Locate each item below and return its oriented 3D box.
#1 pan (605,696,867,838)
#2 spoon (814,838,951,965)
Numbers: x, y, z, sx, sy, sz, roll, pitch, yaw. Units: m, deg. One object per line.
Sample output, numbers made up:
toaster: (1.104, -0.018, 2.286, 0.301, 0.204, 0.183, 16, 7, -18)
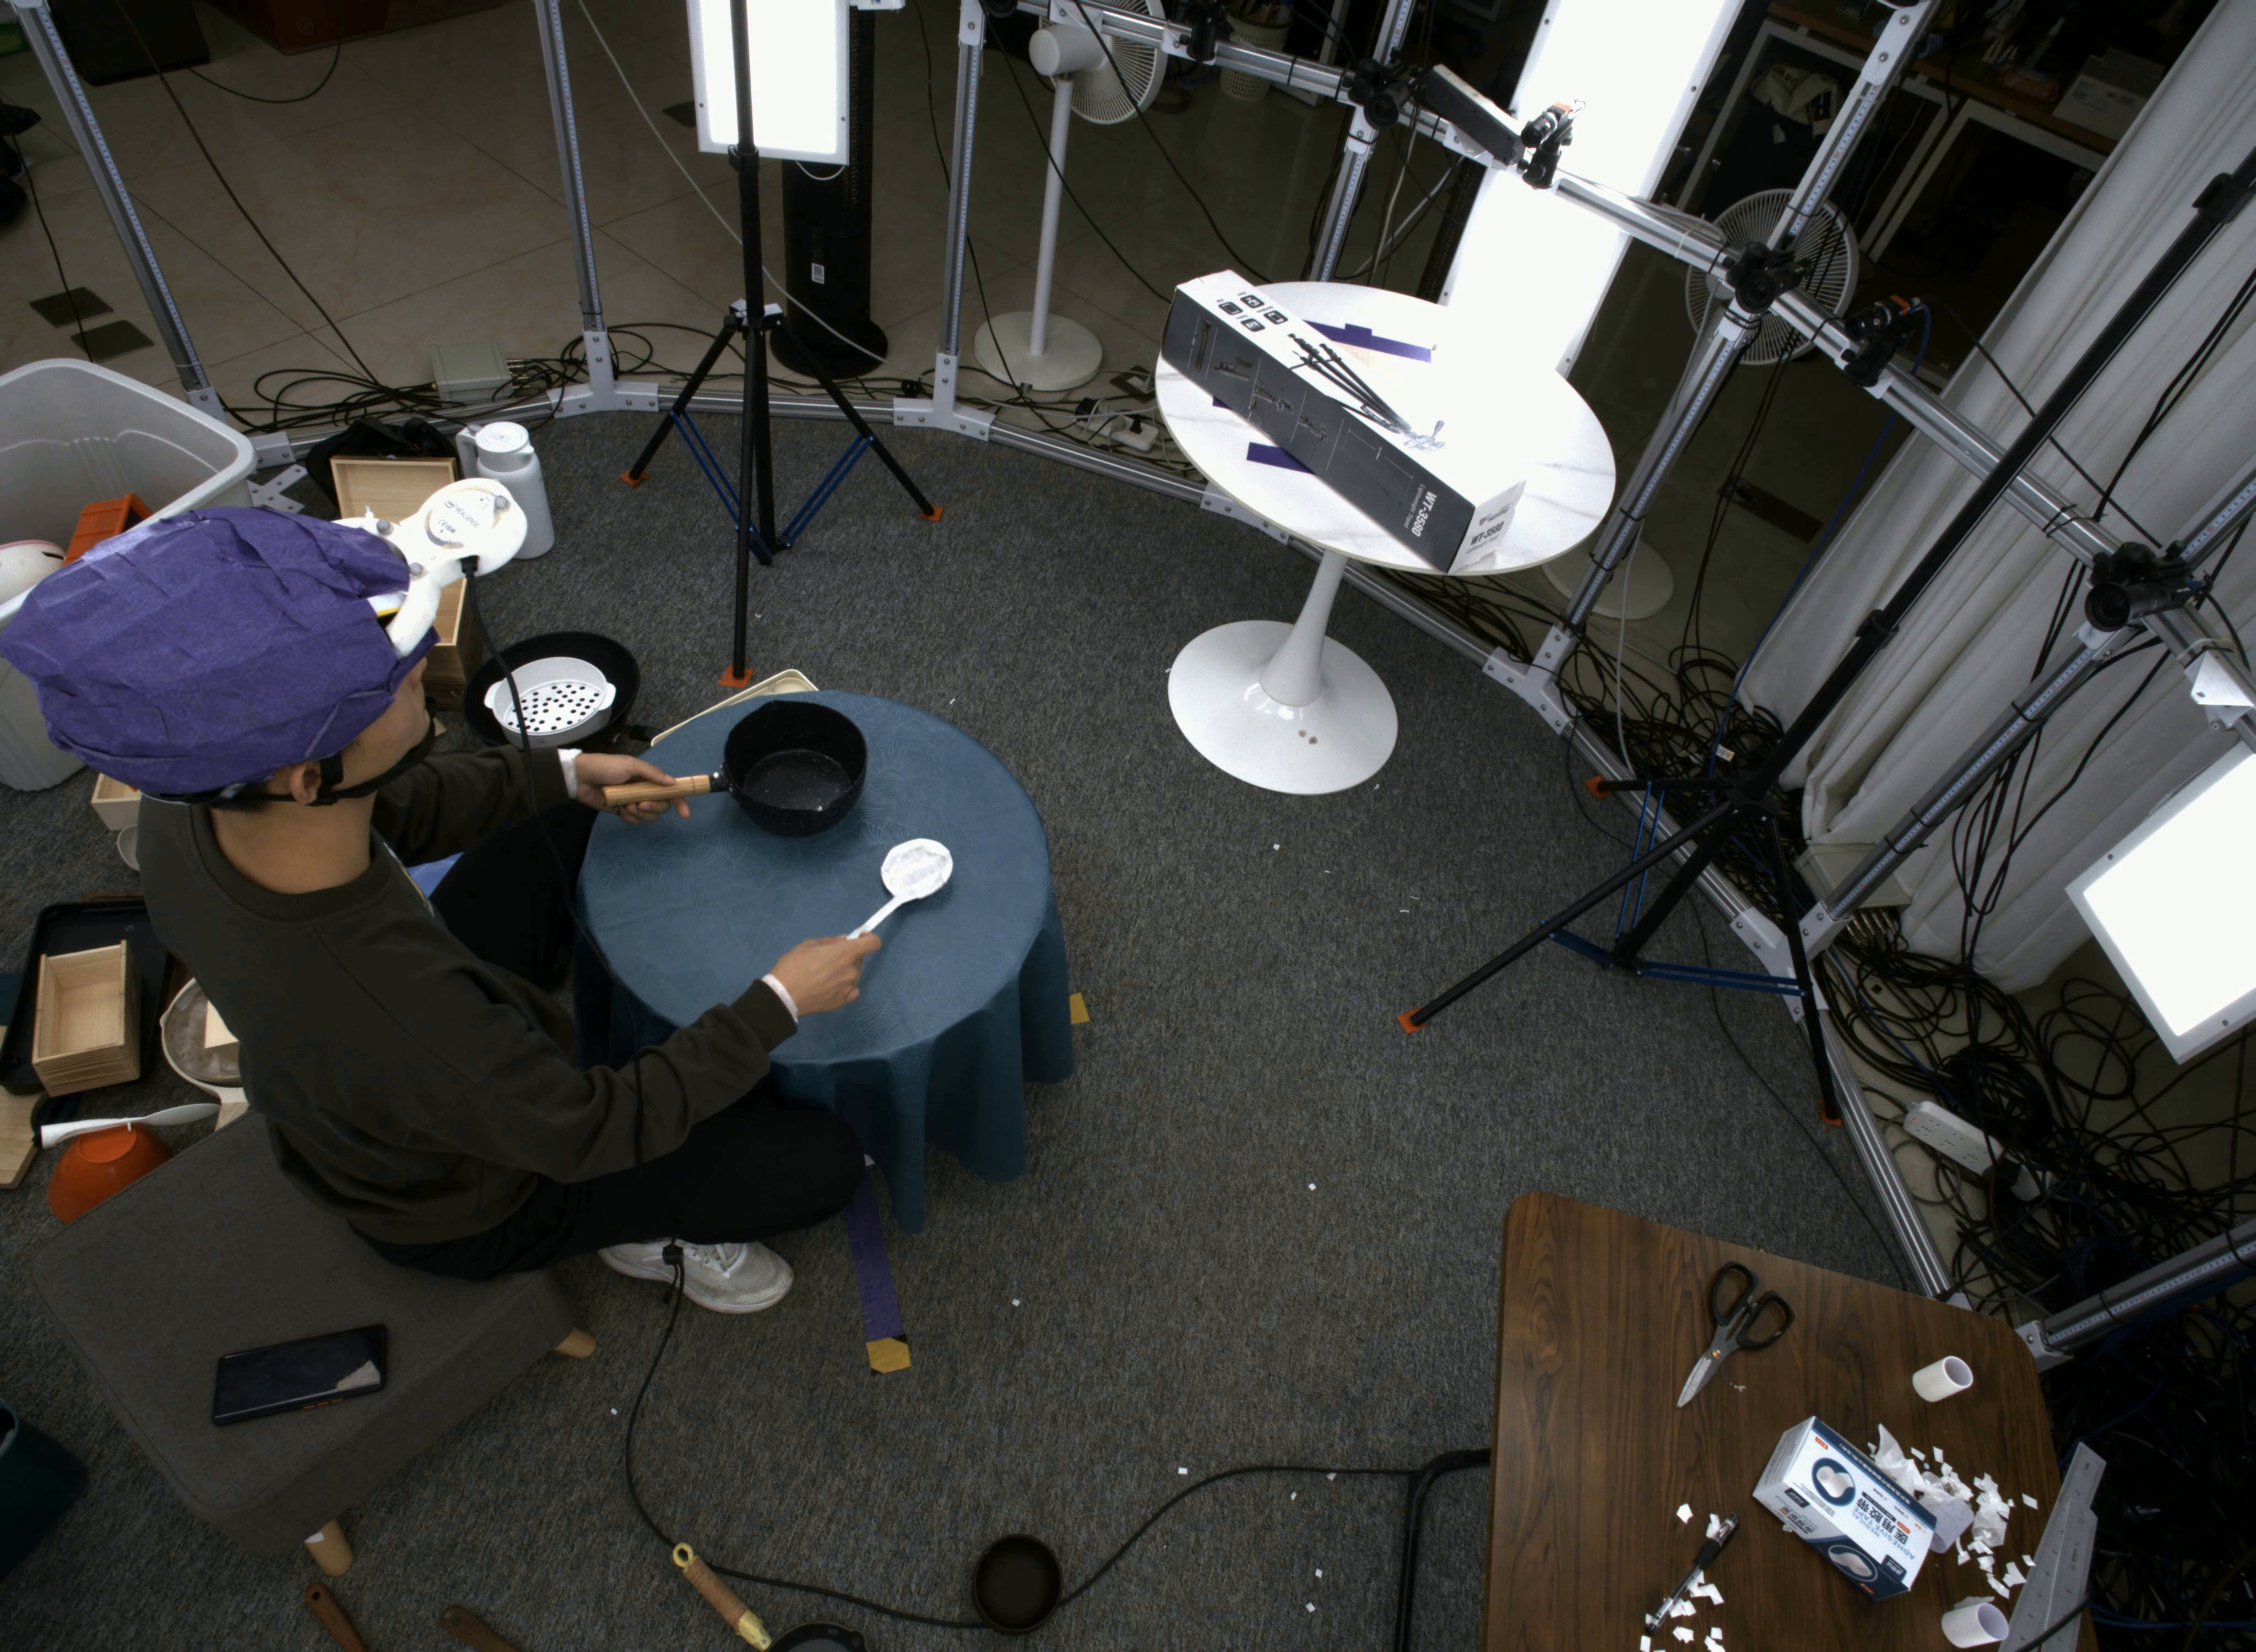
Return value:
pan: (-0.509, -0.056, 1.685, 0.345, 0.110, 0.202, -18, 61, -27)
spoon: (-0.315, 0.087, 1.619, 0.098, 0.061, 0.277, 16, 24, 15)
